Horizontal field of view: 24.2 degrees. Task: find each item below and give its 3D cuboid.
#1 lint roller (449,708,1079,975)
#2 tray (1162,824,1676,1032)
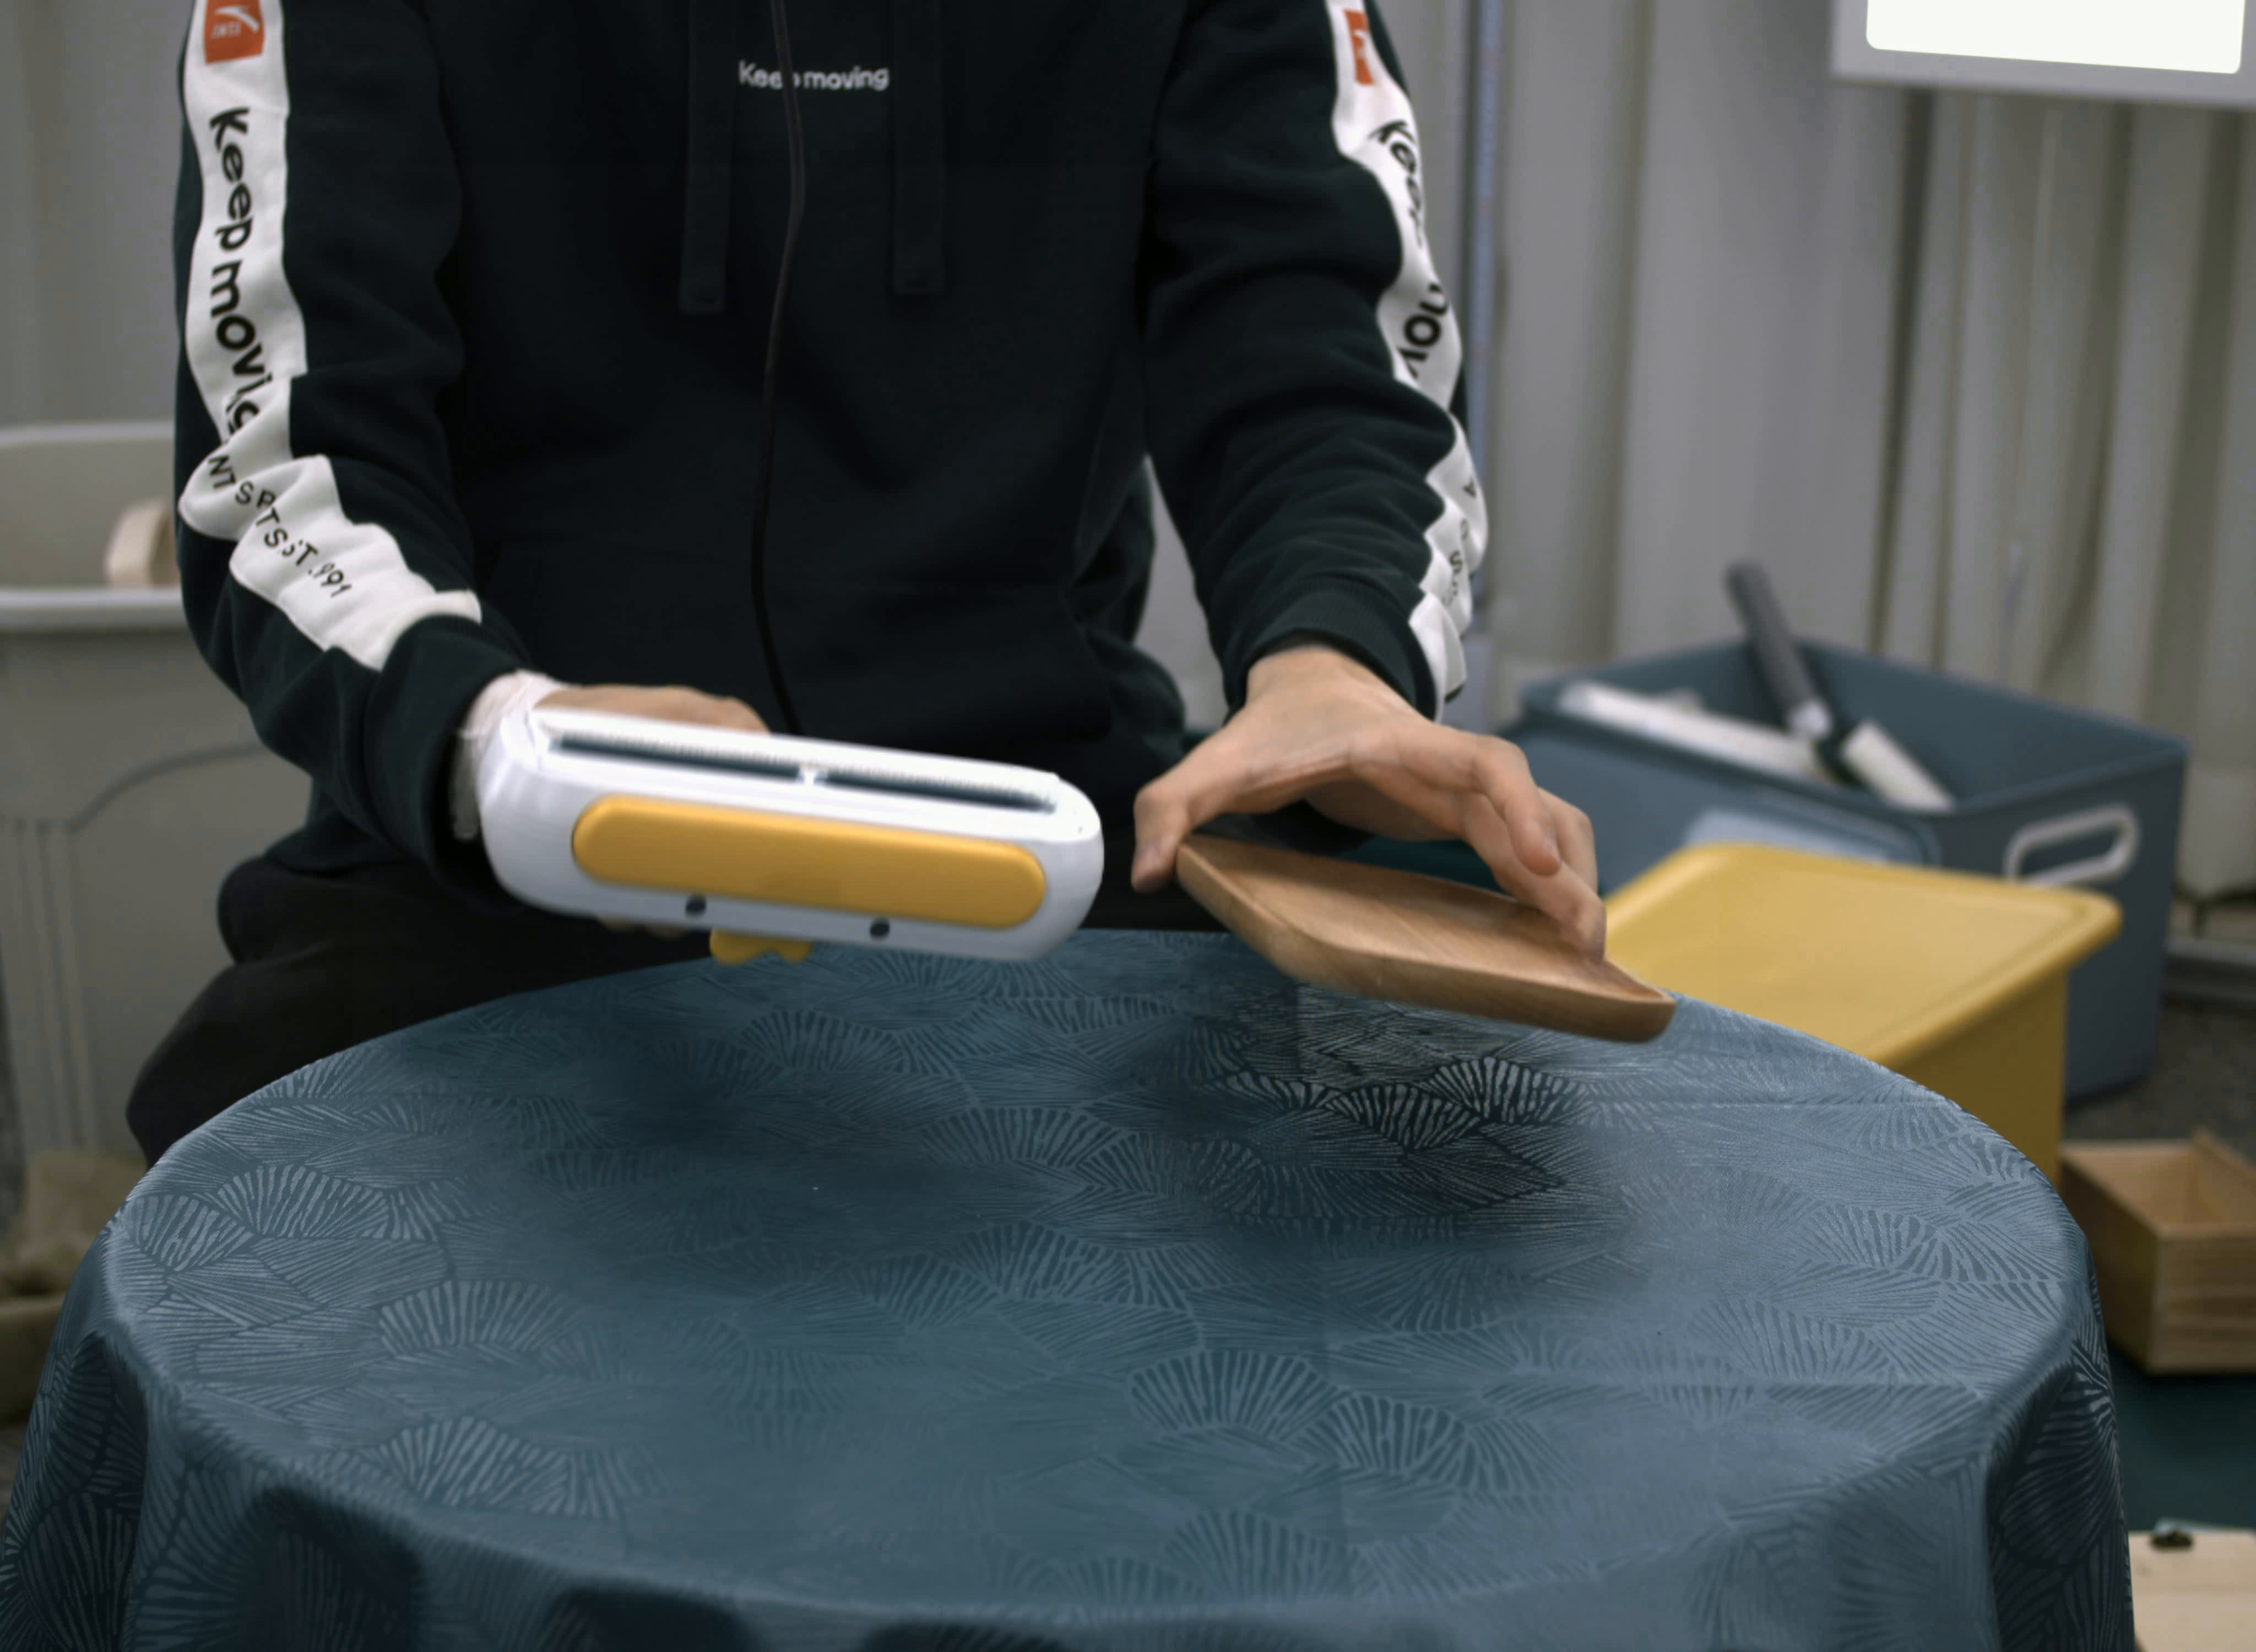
[{"bbox_3d":[-0.121,0.010,1.654,0.193,0.074,0.191,6,-1,-10],"label":"lint roller"},{"bbox_3d":[0.087,0.031,1.666,0.131,0.023,0.249,14,4,-10],"label":"tray"}]
